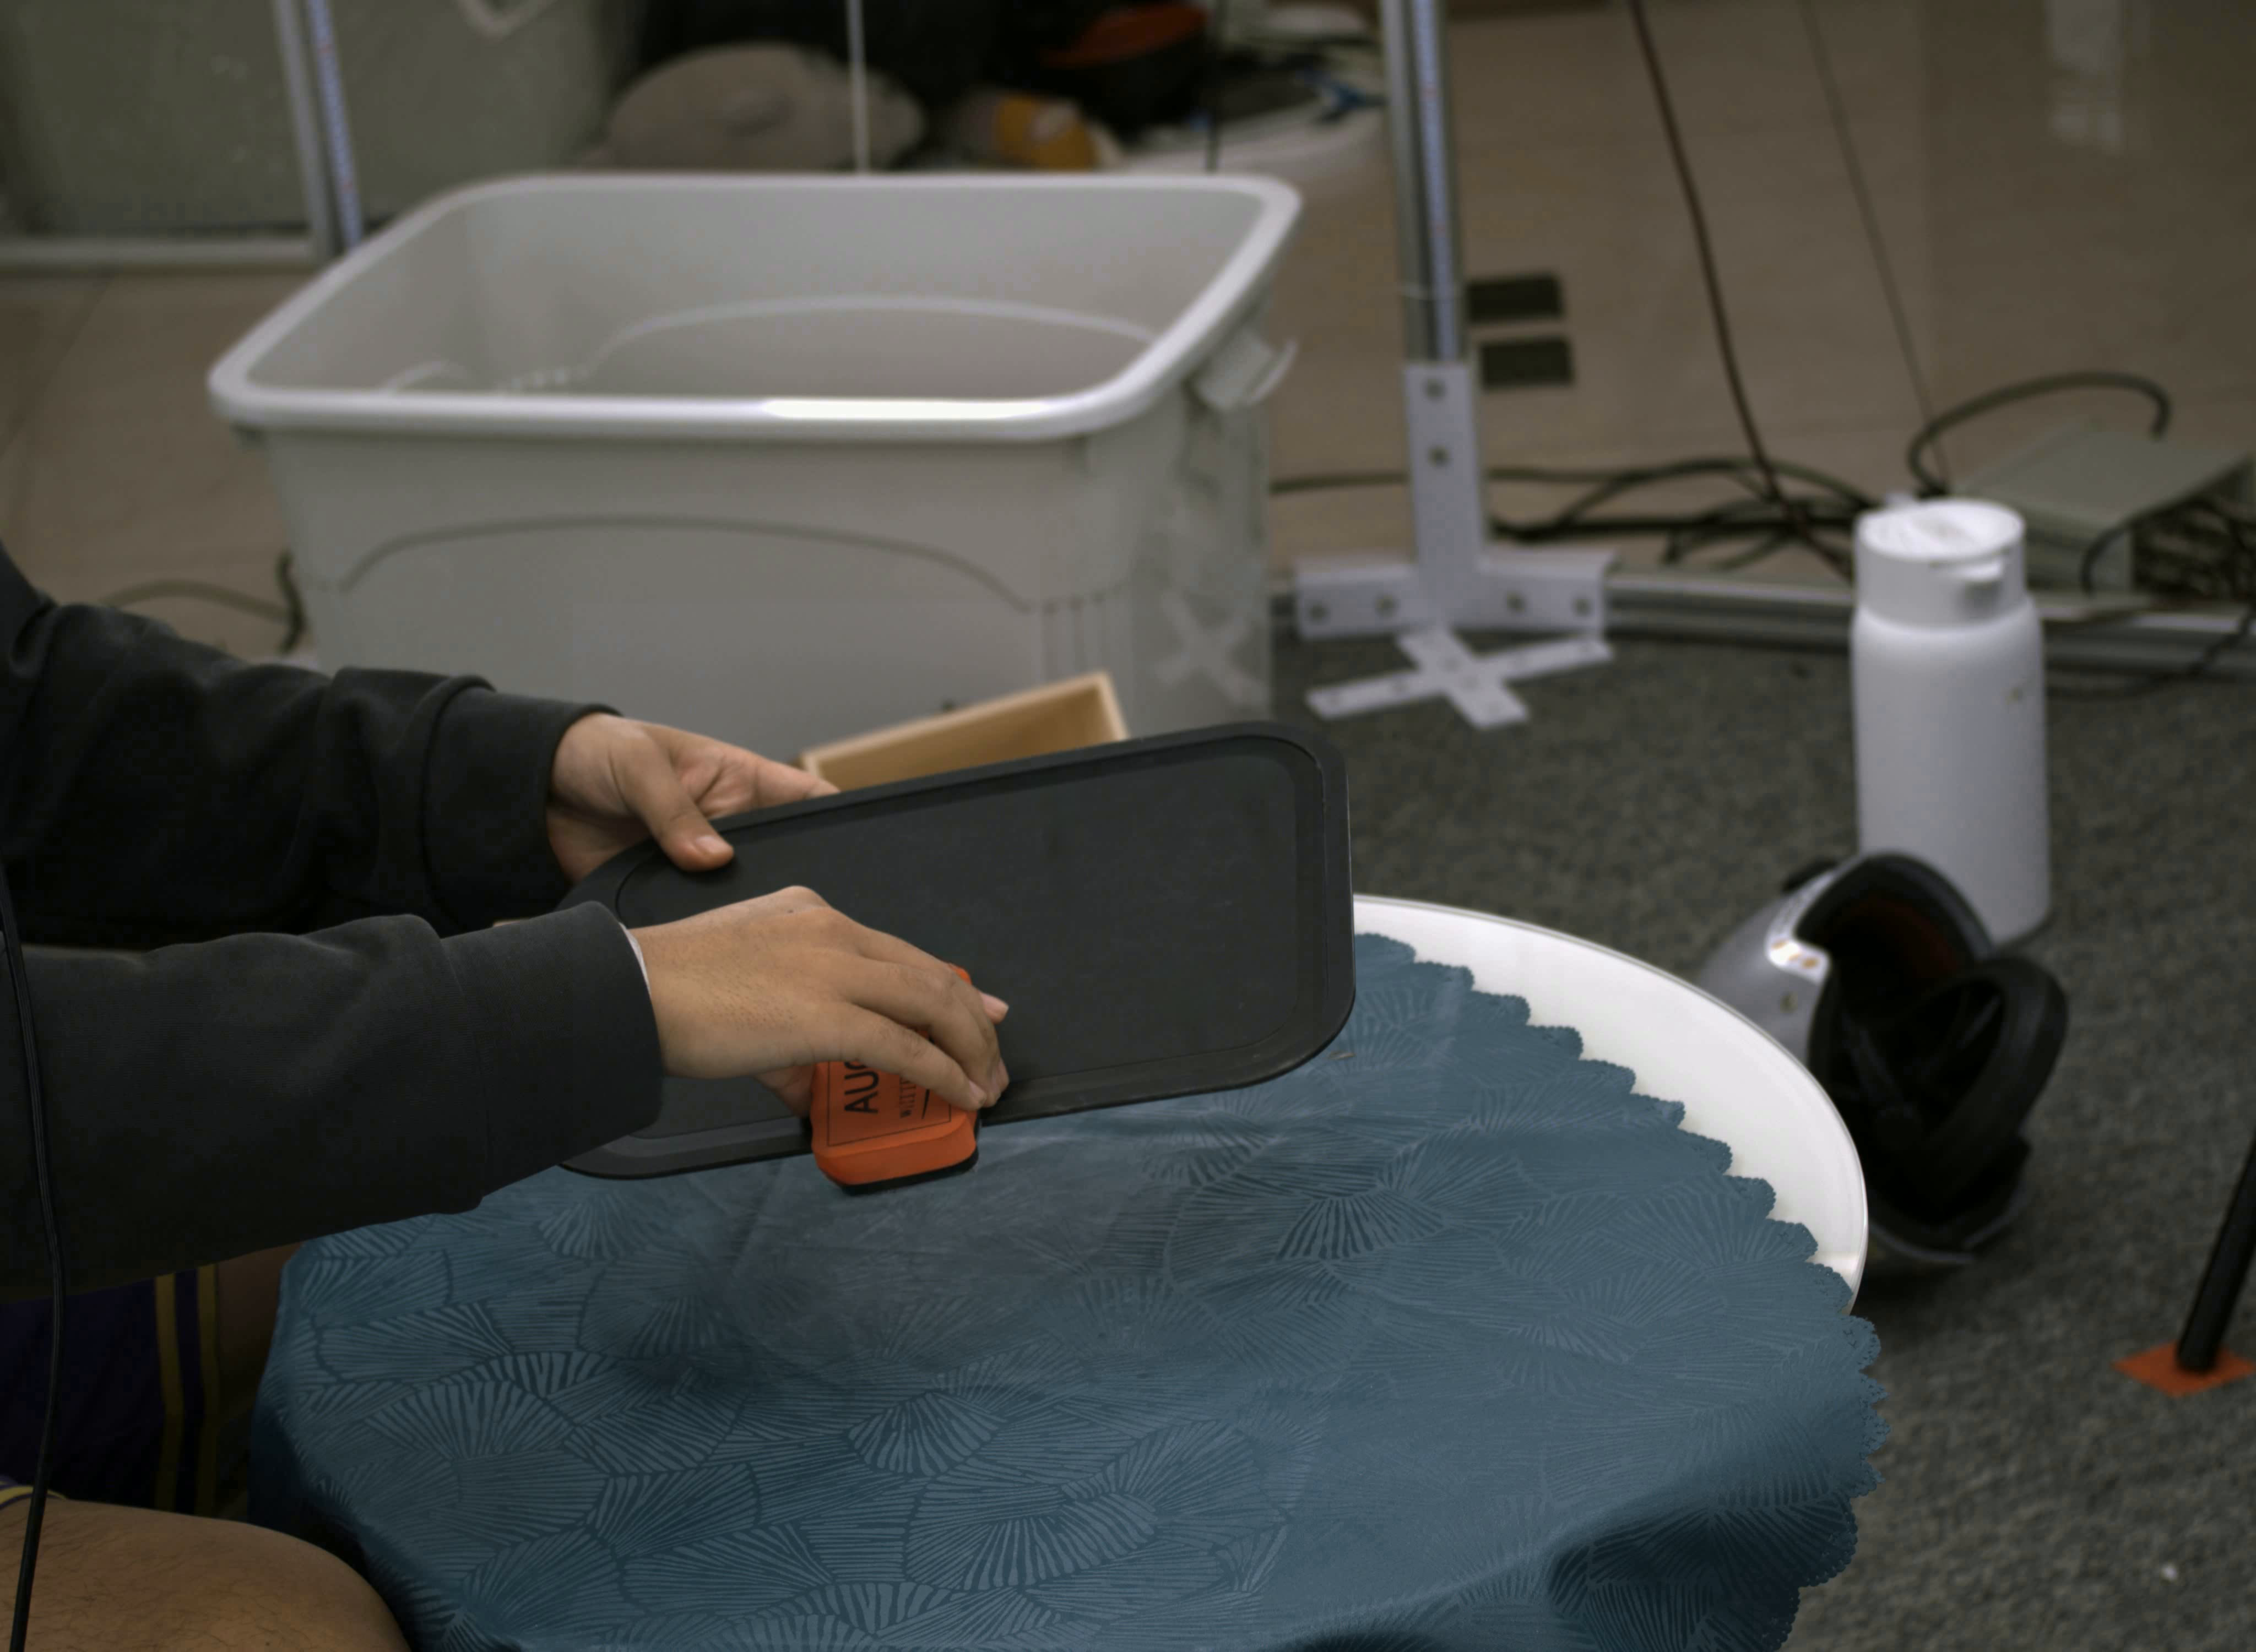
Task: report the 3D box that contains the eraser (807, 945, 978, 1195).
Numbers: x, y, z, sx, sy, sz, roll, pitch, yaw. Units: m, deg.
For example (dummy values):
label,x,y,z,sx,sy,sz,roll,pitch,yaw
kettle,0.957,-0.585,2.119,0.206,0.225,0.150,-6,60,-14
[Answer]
label,x,y,z,sx,sy,sz,roll,pitch,yaw
eraser,-0.084,0.086,2.027,0.059,0.023,0.106,-12,36,5

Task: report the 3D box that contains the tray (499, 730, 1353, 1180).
label,x,y,z,sx,sy,sz,roll,pitch,yaw
tray,-0.076,0.046,2.098,0.325,0.010,0.207,-9,38,9
